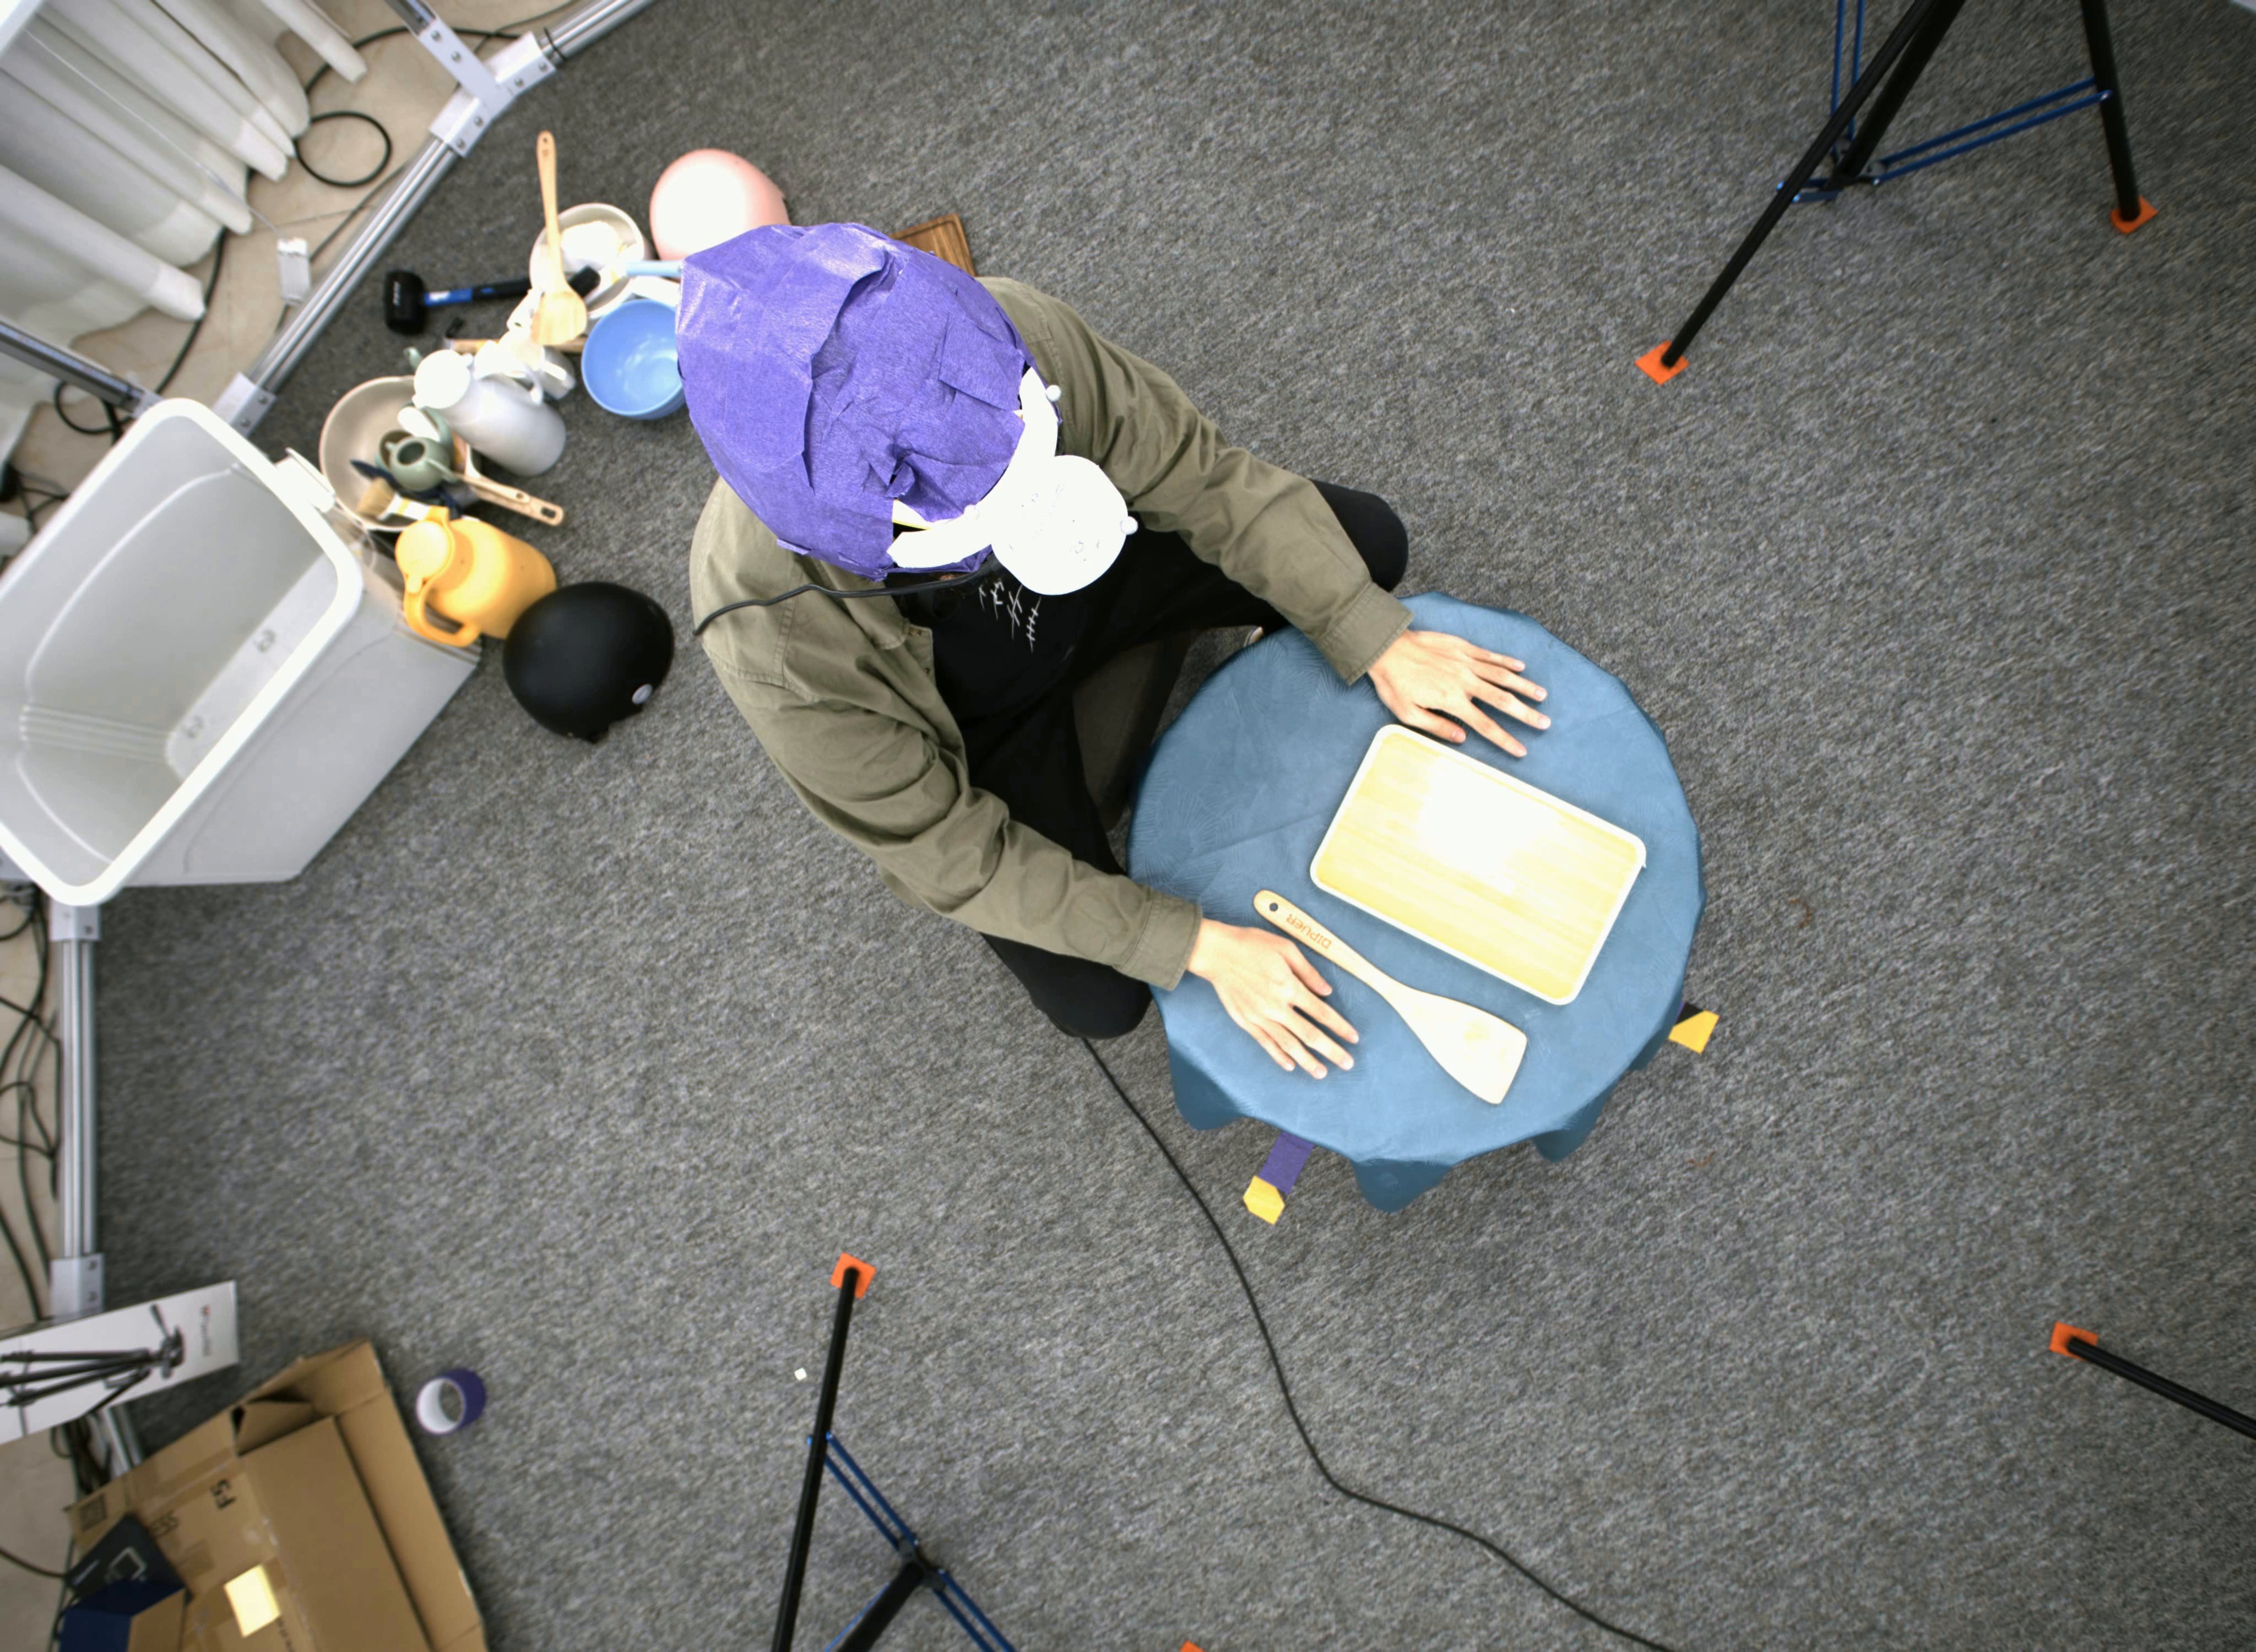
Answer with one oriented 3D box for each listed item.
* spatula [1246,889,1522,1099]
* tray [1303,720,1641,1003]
[{"bbox_3d":[0.261,0.160,1.438,0.327,0.016,0.080,34,93,9],"label":"spatula"},{"bbox_3d":[0.352,0.033,1.421,0.300,0.027,0.192,27,92,11],"label":"tray"}]
